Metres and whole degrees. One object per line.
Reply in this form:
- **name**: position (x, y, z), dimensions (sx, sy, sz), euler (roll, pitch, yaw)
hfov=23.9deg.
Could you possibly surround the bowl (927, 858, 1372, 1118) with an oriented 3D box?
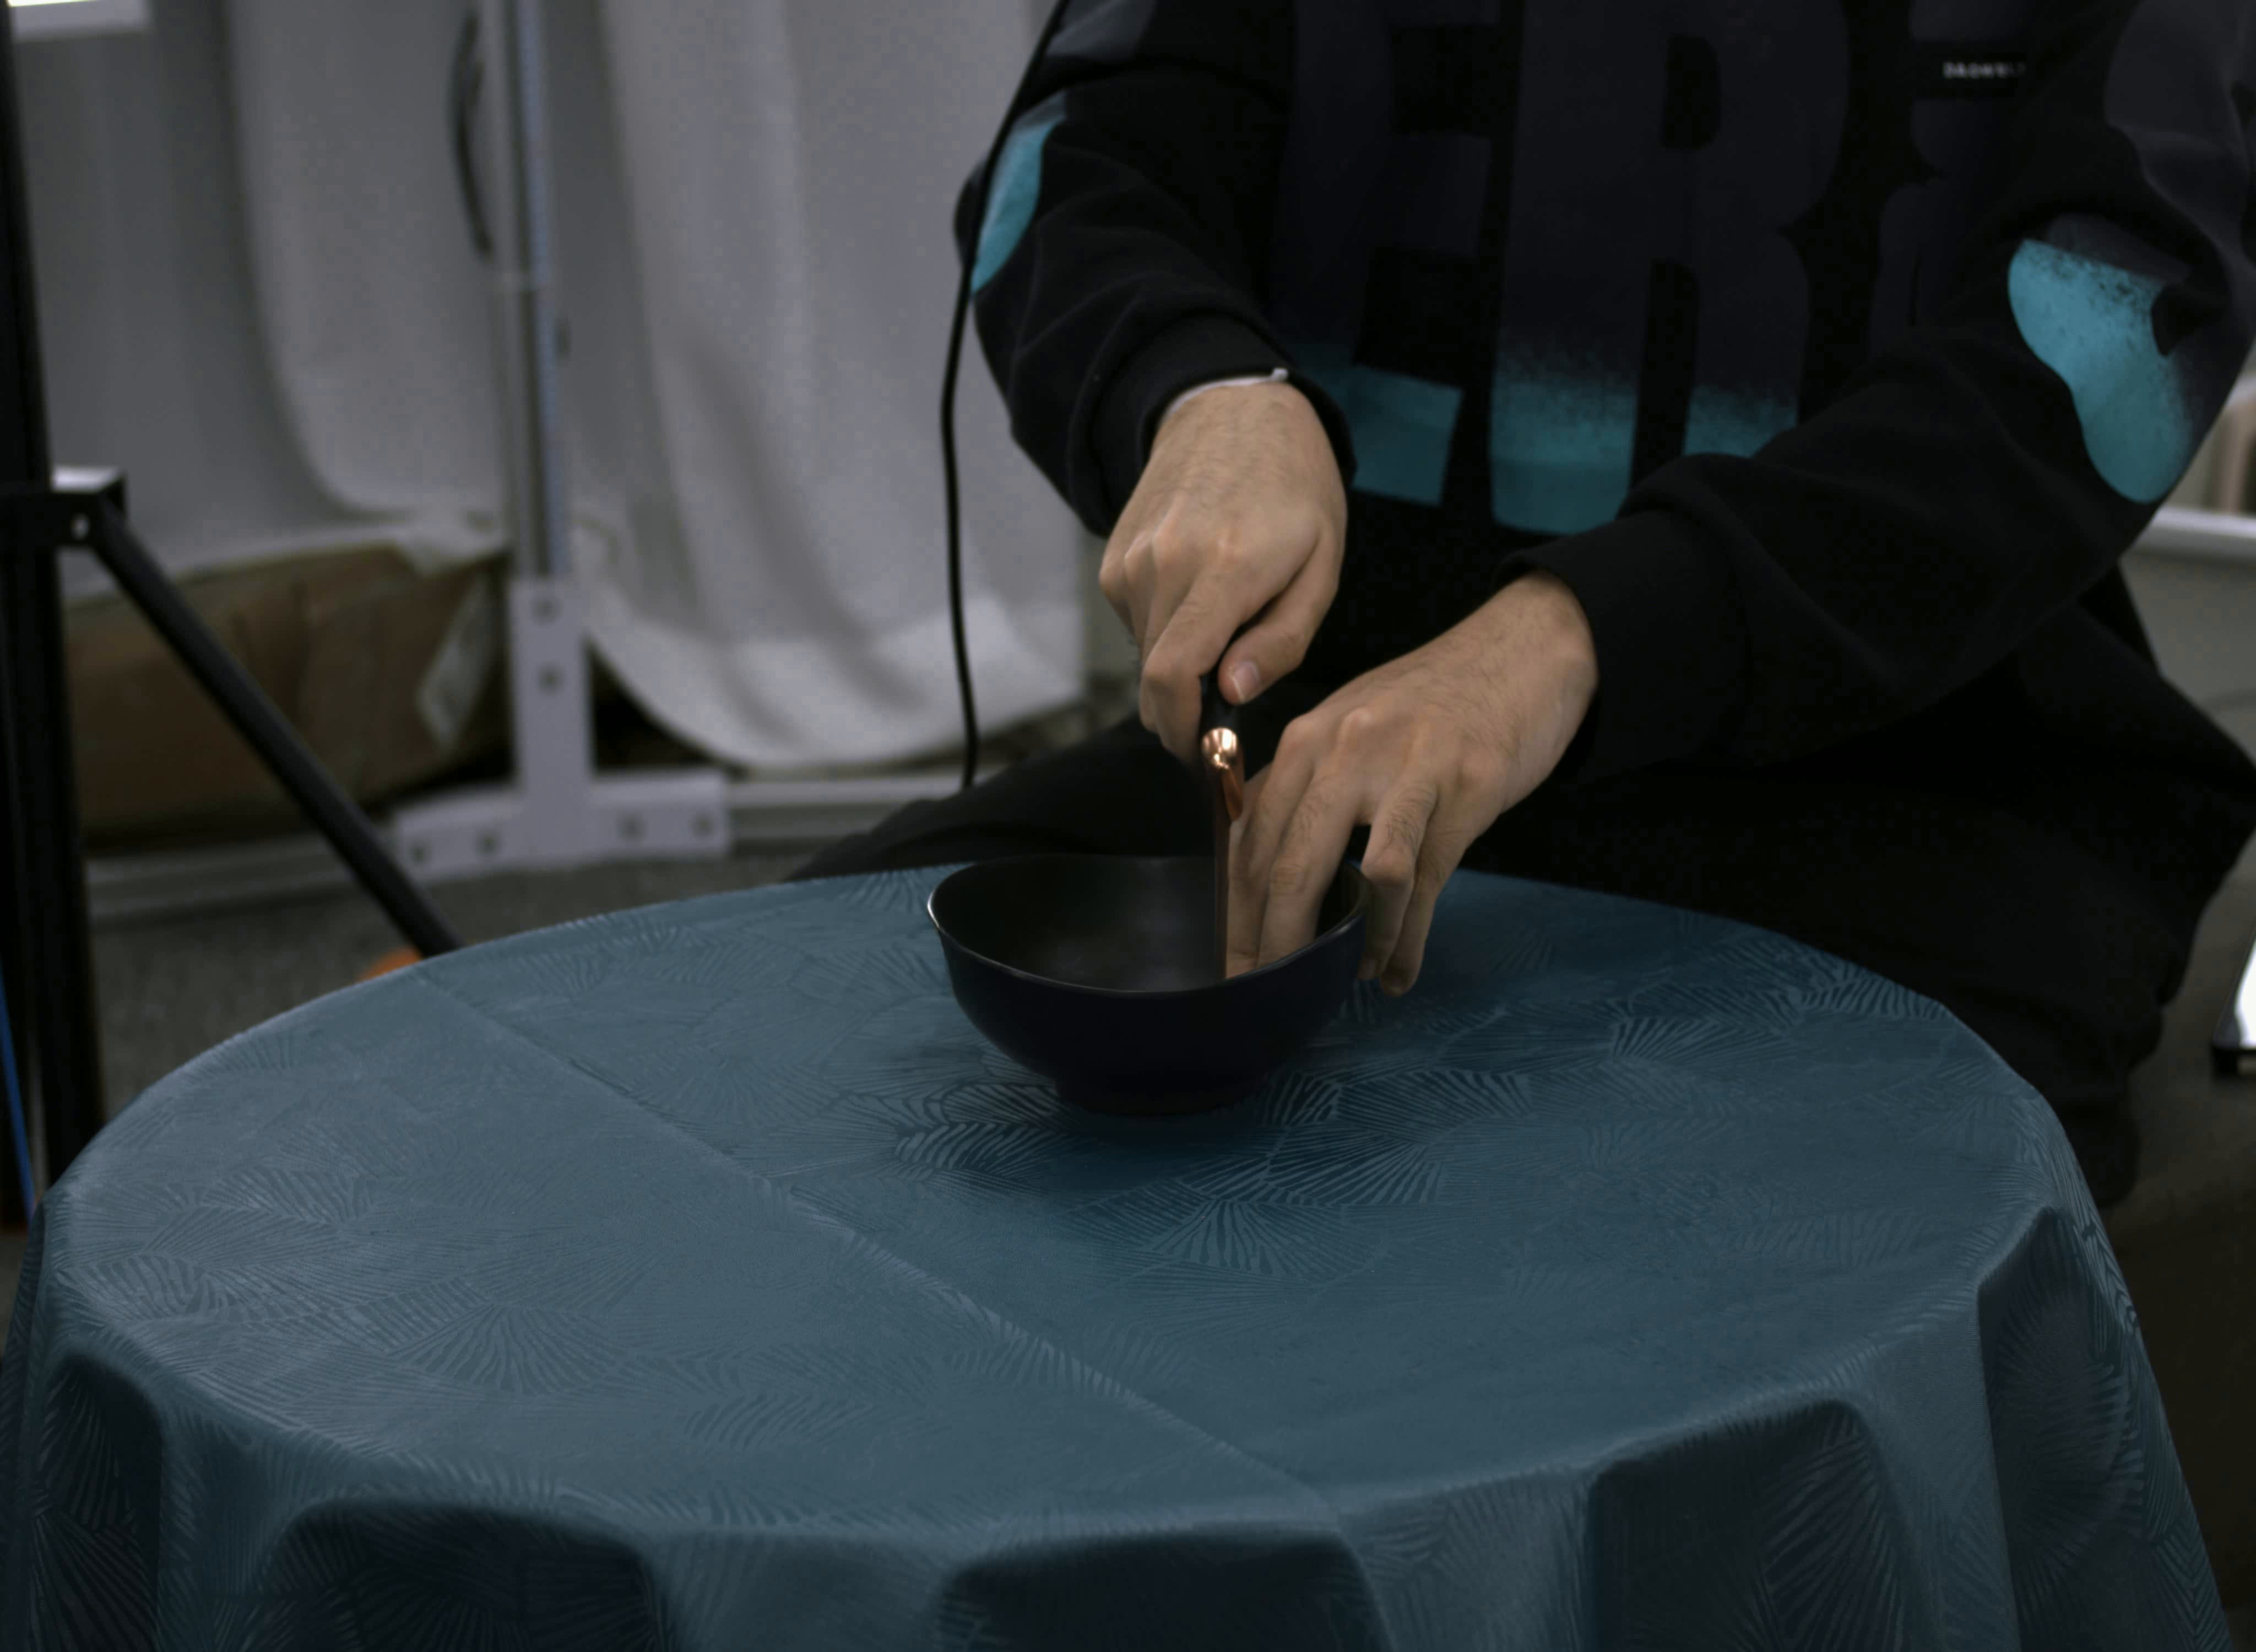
- **bowl**: position (0.008, 0.051, 1.641), dimensions (0.137, 0.067, 0.170), euler (-1, 13, 4)

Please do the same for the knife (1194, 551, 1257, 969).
- **knife**: position (0.029, -0.010, 1.677), dimensions (0.017, 0.026, 0.227), euler (-9, 42, 13)
